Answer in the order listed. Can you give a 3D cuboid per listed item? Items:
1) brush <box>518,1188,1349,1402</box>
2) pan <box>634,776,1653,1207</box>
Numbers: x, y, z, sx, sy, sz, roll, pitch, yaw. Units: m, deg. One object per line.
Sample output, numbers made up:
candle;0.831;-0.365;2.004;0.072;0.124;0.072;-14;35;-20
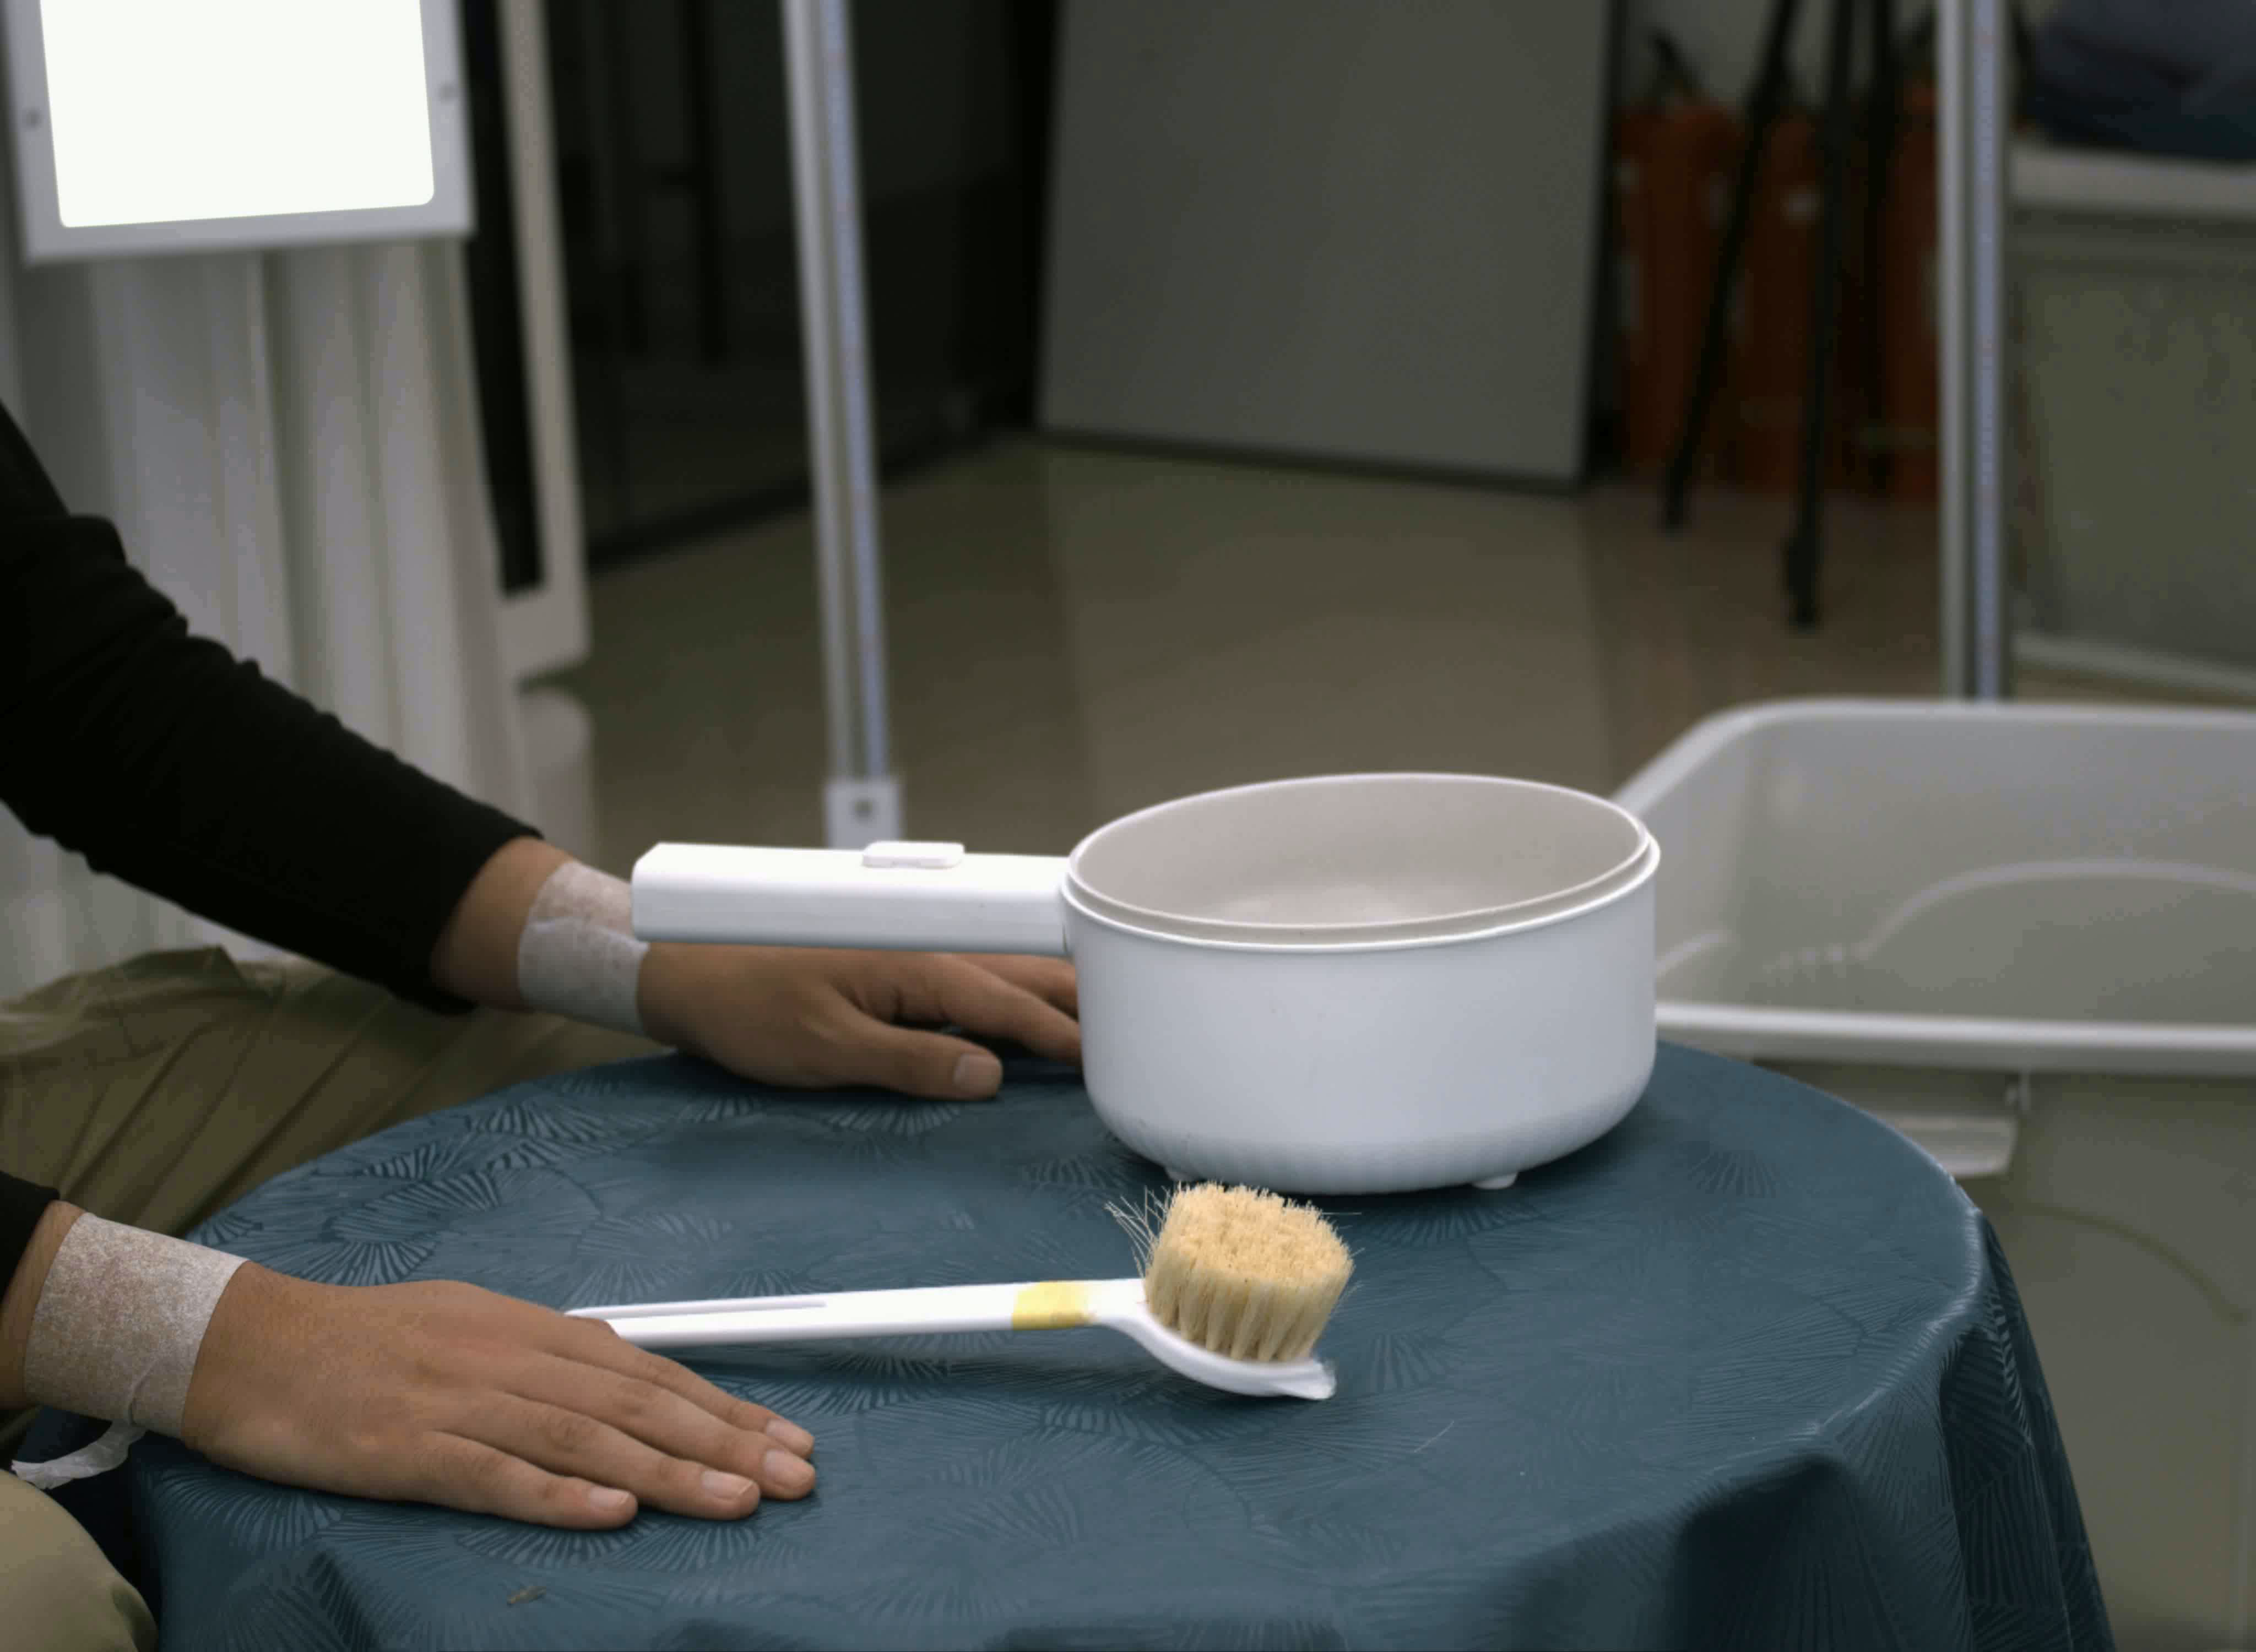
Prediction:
brush;-0.063;0.138;1.608;0.266;0.057;0.068;0;10;21
pan;0.006;0.058;1.824;0.353;0.103;0.200;-1;15;17
